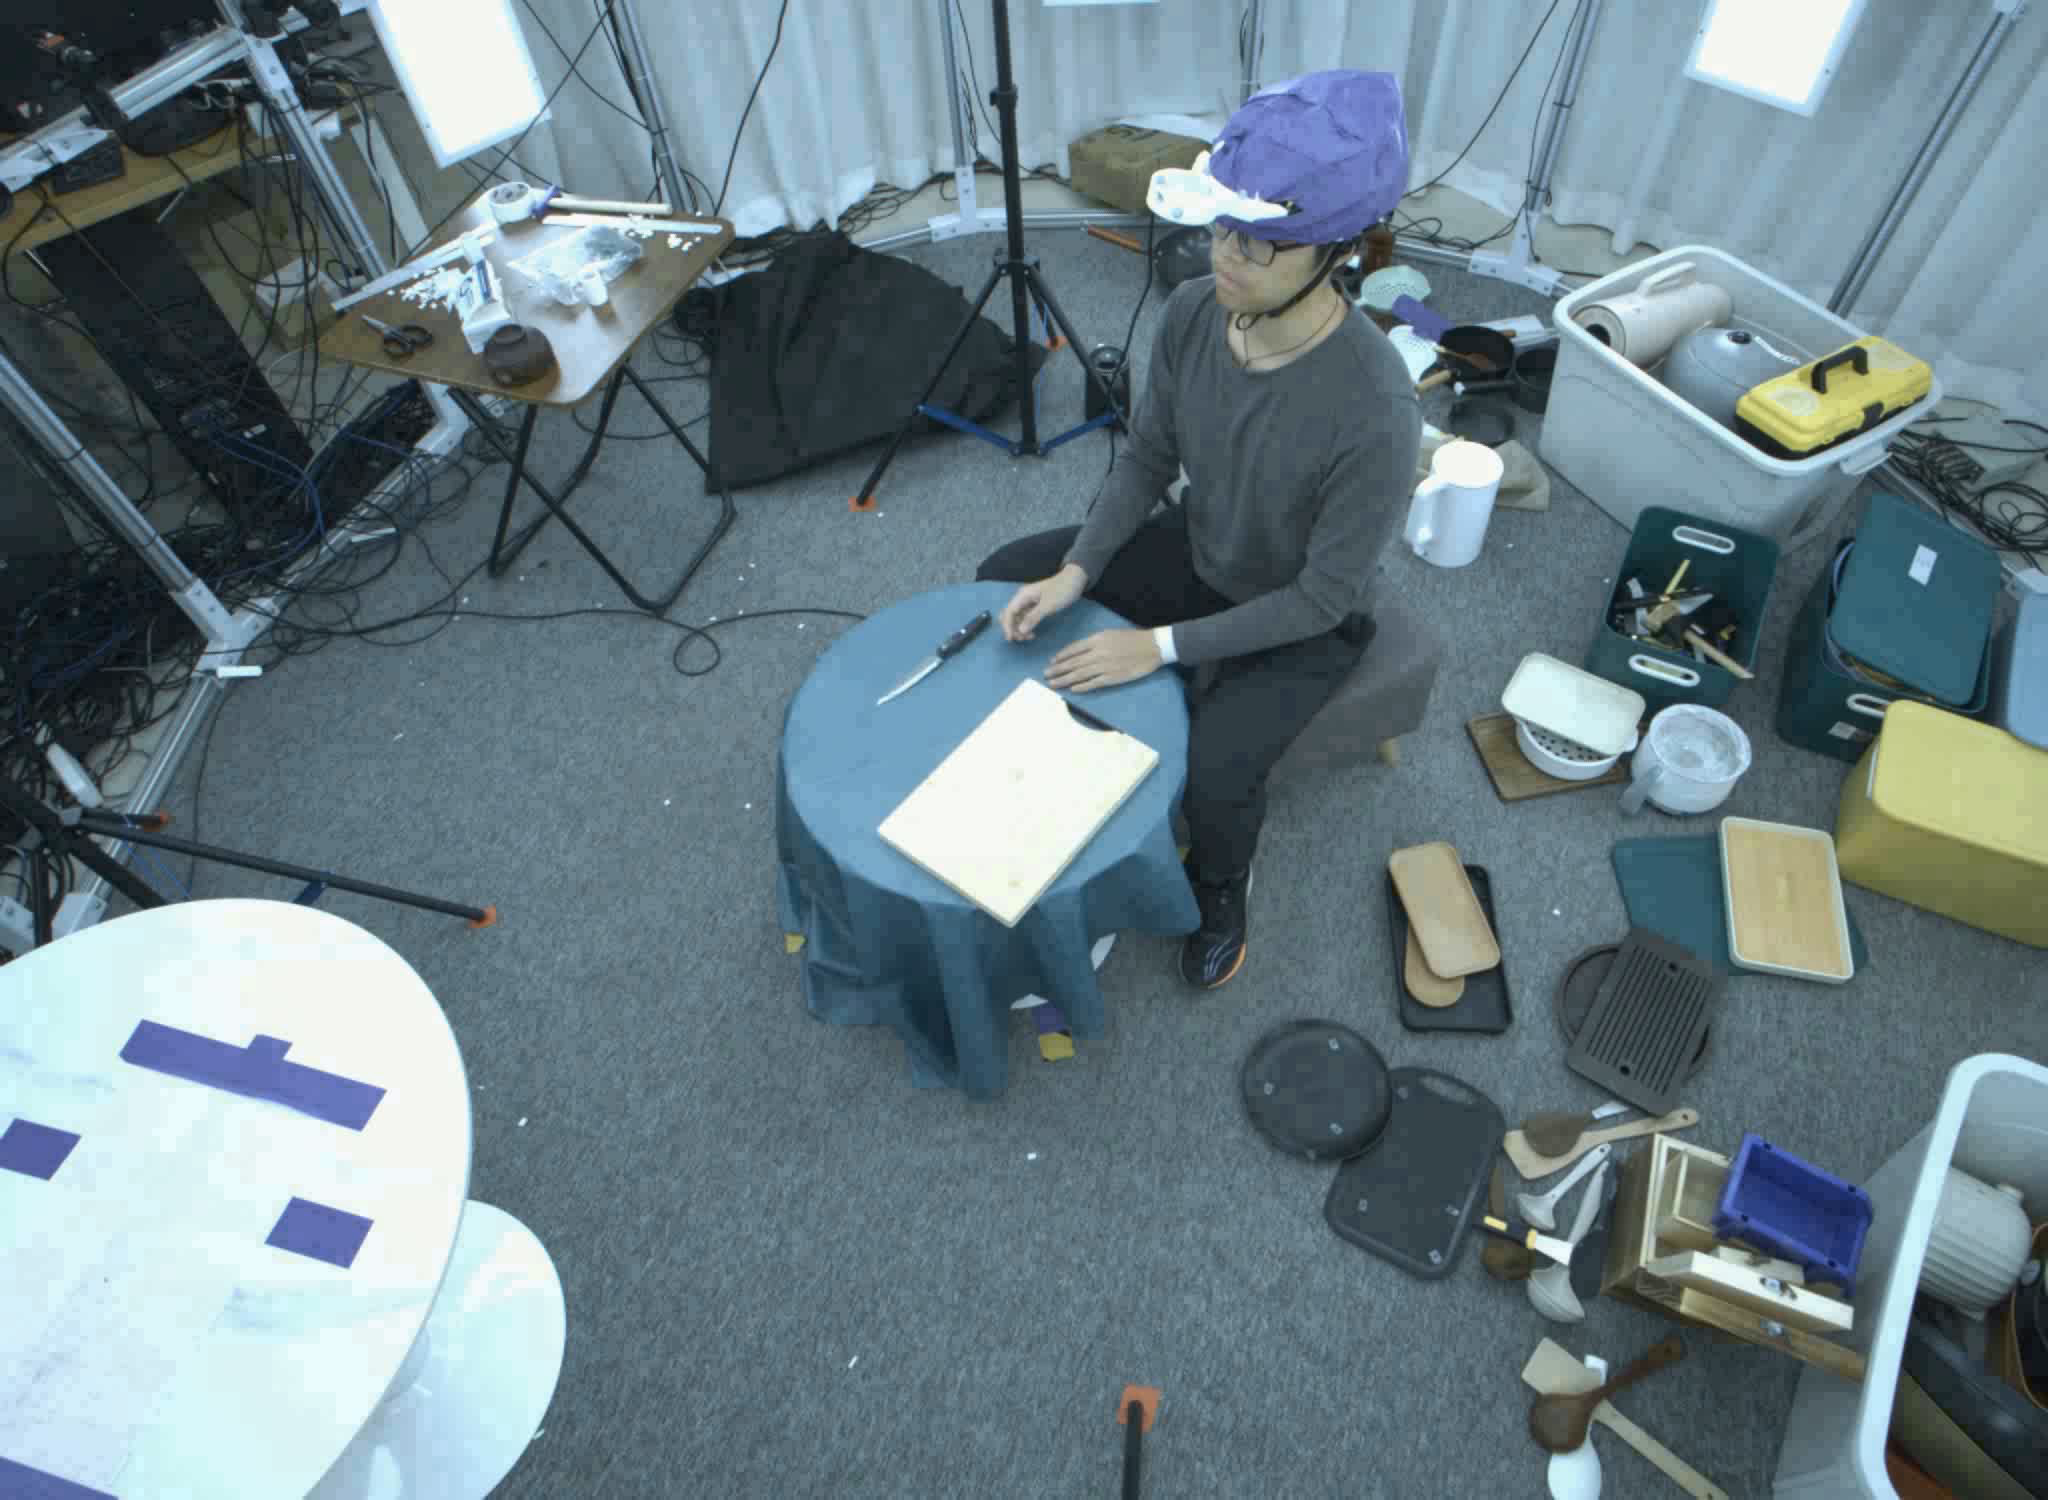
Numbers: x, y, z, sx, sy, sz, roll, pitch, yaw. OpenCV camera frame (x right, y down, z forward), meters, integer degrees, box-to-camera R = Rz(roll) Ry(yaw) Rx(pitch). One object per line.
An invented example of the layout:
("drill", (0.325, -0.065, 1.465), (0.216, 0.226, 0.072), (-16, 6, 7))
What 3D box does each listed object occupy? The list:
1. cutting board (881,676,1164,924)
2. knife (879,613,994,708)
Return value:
("cutting board", (-0.001, 0.060, 1.743), (0.247, 0.024, 0.350), (31, 61, 21))
("knife", (-0.138, -0.140, 1.892), (0.024, 0.016, 0.239), (35, 65, 31))
